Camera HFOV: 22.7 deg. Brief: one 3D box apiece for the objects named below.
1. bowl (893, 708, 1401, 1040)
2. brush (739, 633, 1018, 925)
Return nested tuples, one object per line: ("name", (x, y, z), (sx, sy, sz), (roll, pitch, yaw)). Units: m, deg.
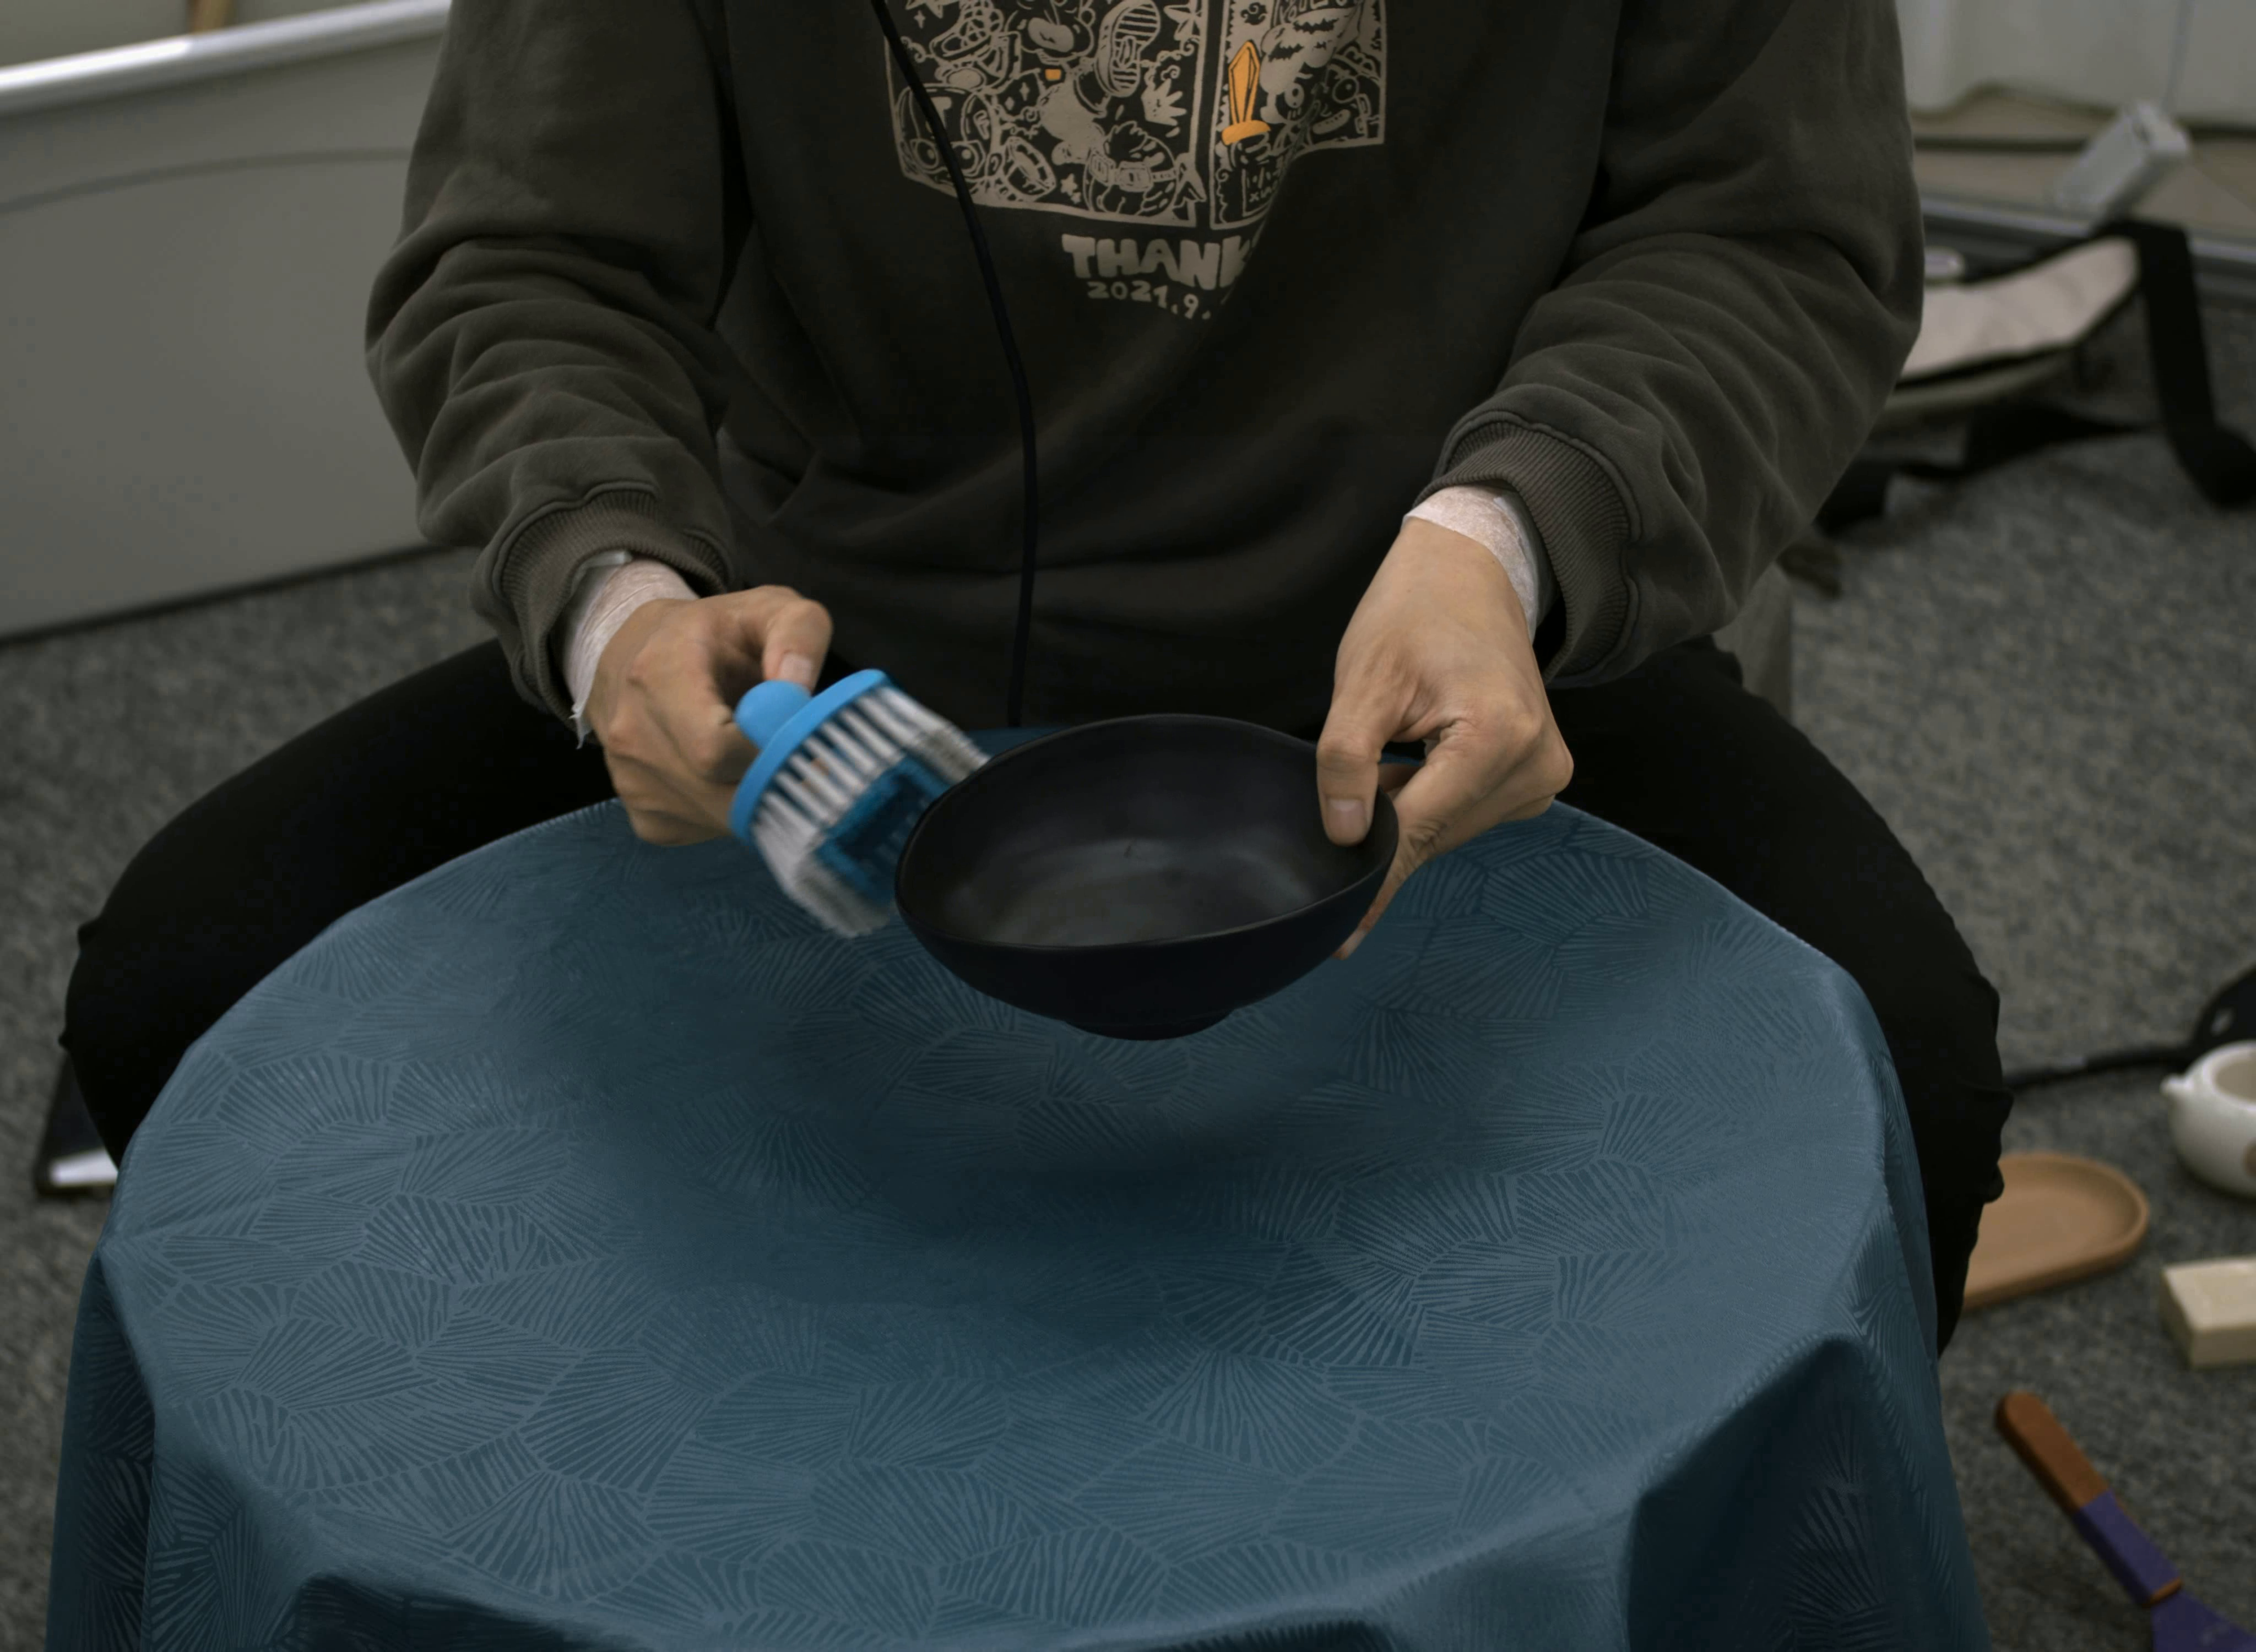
("bowl", (0.008, 0.026, 1.841), (0.171, 0.066, 0.138), (-12, 34, -20))
("brush", (-0.092, -0.022, 1.855), (0.064, 0.084, 0.141), (36, -2, 16))
